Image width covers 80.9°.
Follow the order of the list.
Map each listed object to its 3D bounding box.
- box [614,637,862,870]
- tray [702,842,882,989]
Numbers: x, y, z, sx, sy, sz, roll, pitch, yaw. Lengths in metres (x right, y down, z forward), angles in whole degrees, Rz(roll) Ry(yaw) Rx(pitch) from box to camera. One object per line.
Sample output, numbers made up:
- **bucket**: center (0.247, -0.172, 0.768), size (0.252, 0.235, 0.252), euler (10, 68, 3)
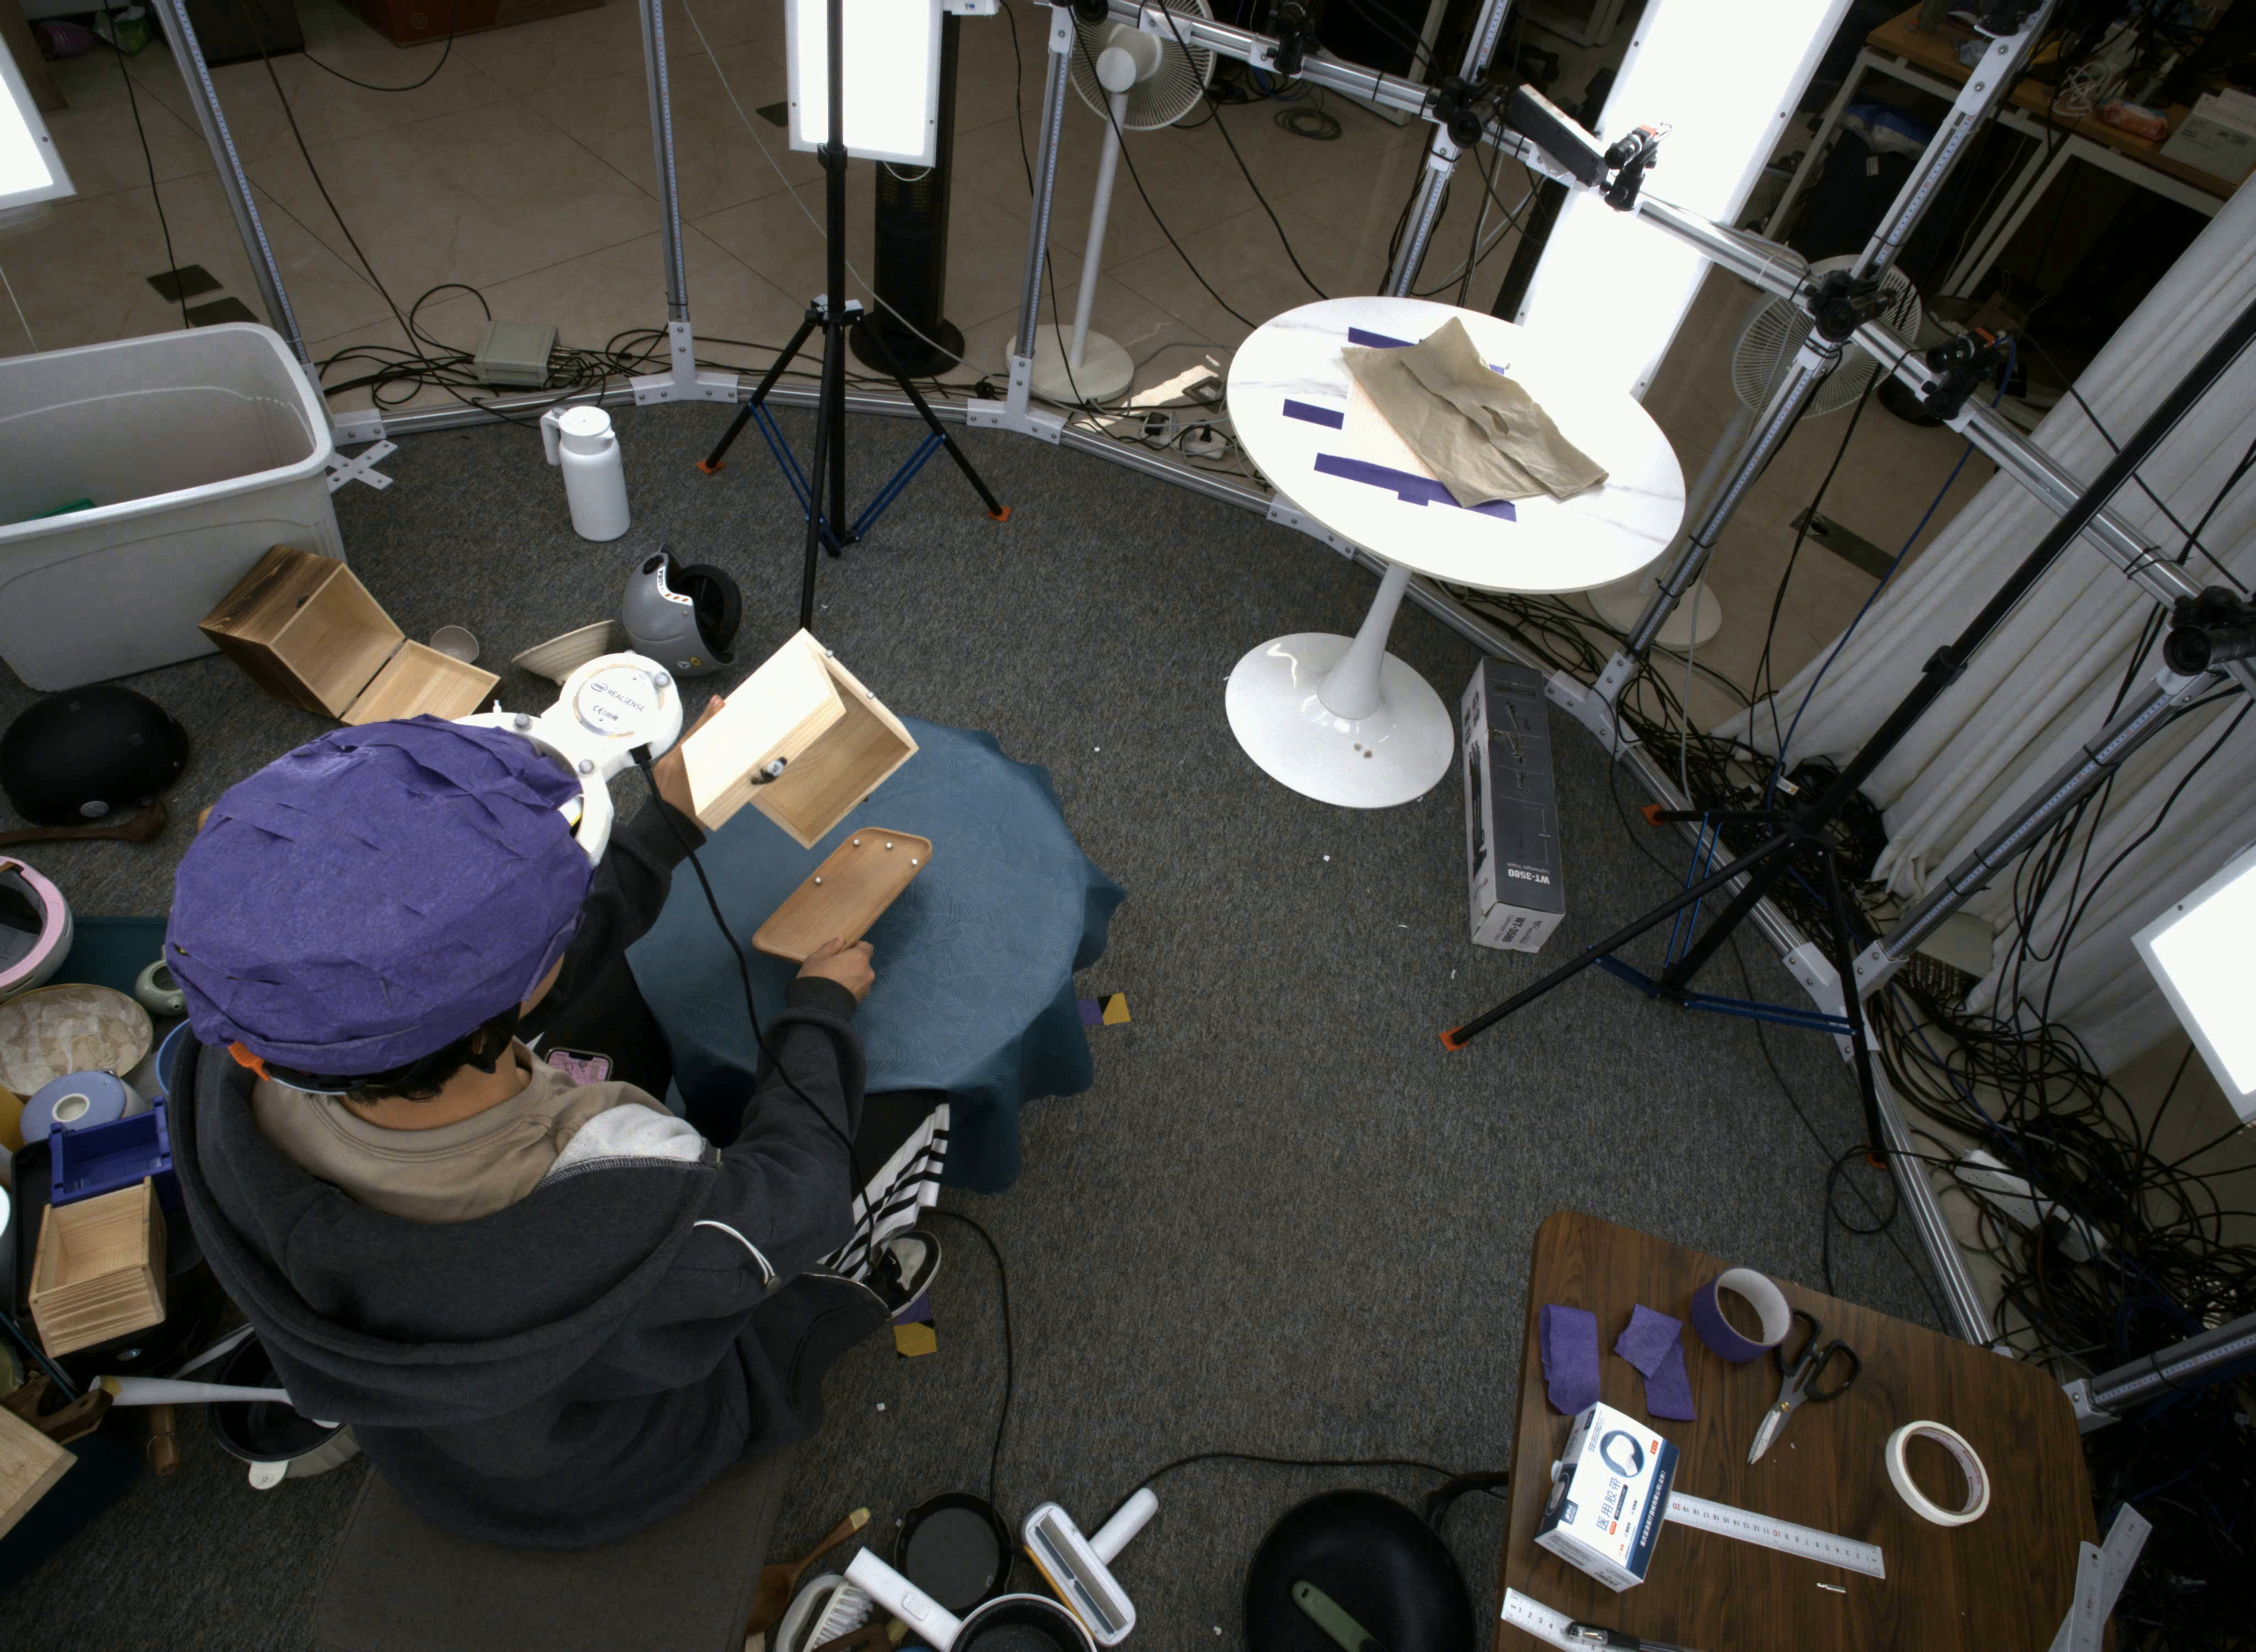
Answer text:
- **box**: center (-0.413, -0.062, 1.386), size (0.182, 0.275, 0.244), euler (-48, 42, -1)
- **tray**: center (-0.404, 0.103, 1.575), size (0.126, 0.024, 0.249), euler (7, 41, 23)
